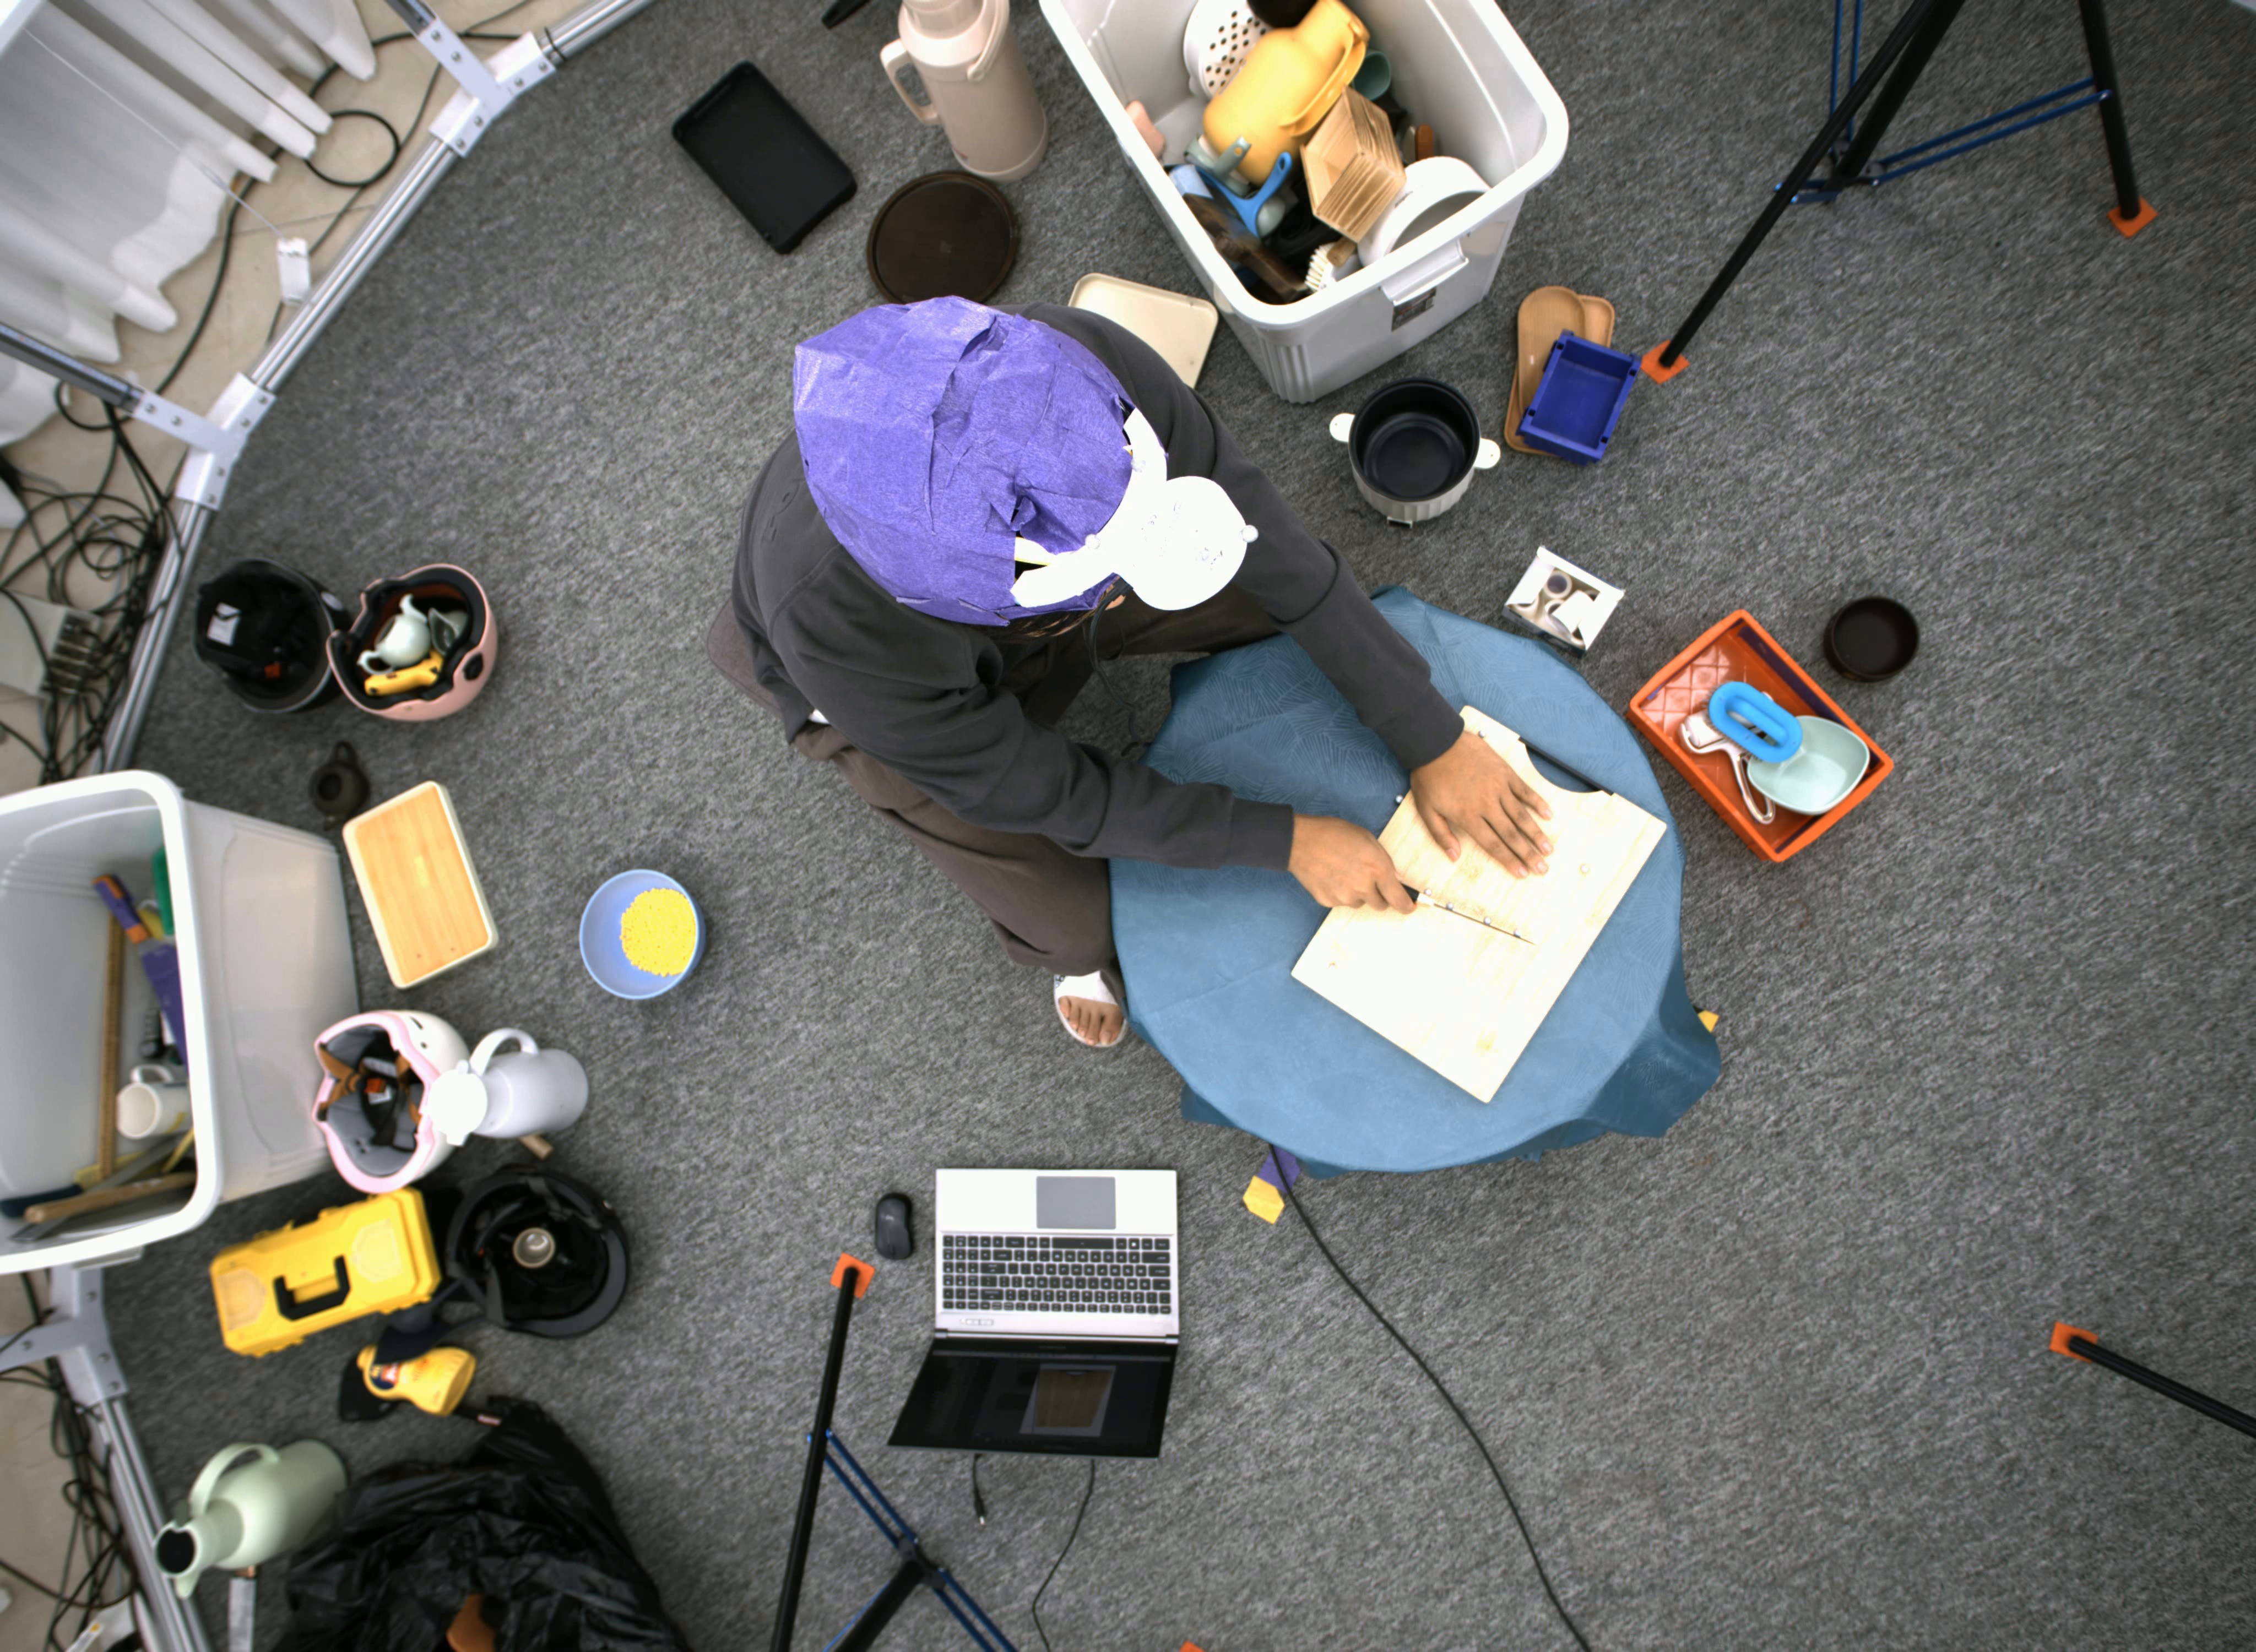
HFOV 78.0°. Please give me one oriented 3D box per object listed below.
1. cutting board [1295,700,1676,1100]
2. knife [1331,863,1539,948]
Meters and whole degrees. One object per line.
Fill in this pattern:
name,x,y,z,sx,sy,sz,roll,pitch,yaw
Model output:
cutting board,0.367,0.072,1.434,0.250,0.023,0.349,32,93,11
knife,0.315,0.081,1.413,0.225,0.026,0.017,20,82,7
